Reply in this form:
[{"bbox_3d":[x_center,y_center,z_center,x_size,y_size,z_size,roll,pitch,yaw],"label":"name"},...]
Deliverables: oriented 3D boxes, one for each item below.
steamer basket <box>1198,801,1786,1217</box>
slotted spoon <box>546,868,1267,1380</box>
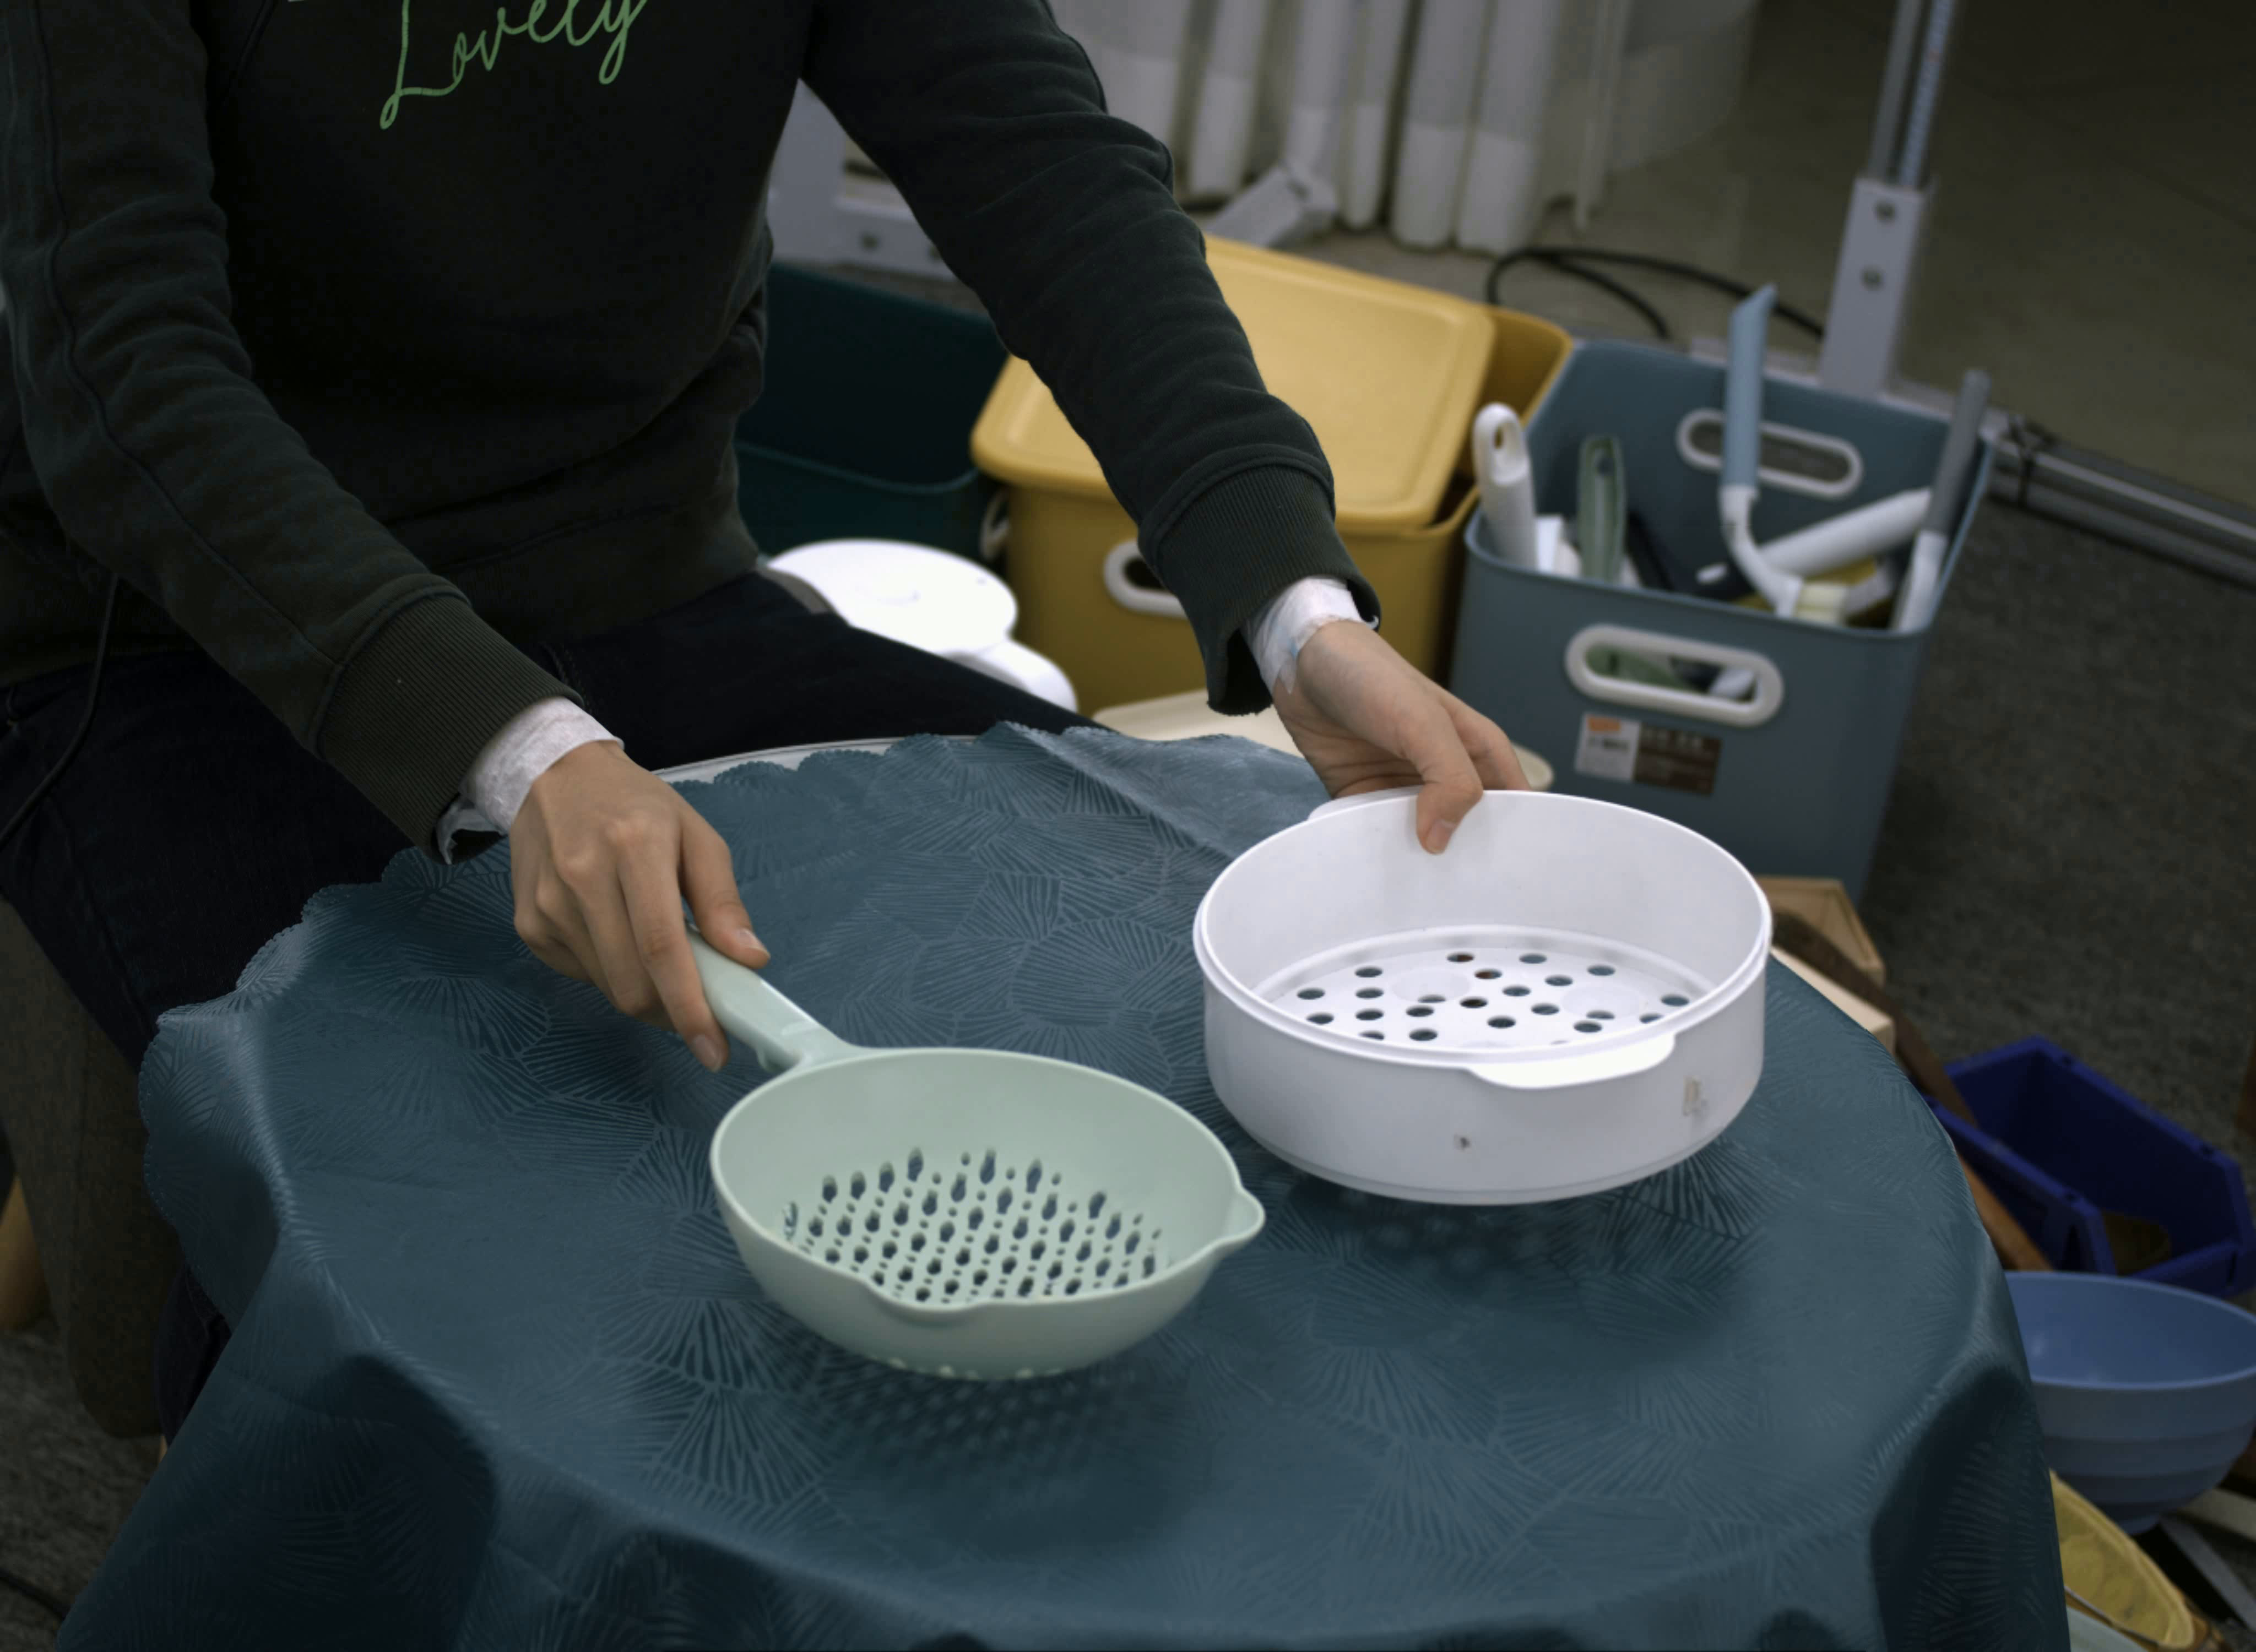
[{"bbox_3d":[0.125,0.064,1.836,0.201,0.069,0.232,-8,26,-13],"label":"steamer basket"},{"bbox_3d":[-0.103,0.082,1.756,0.168,0.075,0.362,-10,35,-32],"label":"slotted spoon"}]
